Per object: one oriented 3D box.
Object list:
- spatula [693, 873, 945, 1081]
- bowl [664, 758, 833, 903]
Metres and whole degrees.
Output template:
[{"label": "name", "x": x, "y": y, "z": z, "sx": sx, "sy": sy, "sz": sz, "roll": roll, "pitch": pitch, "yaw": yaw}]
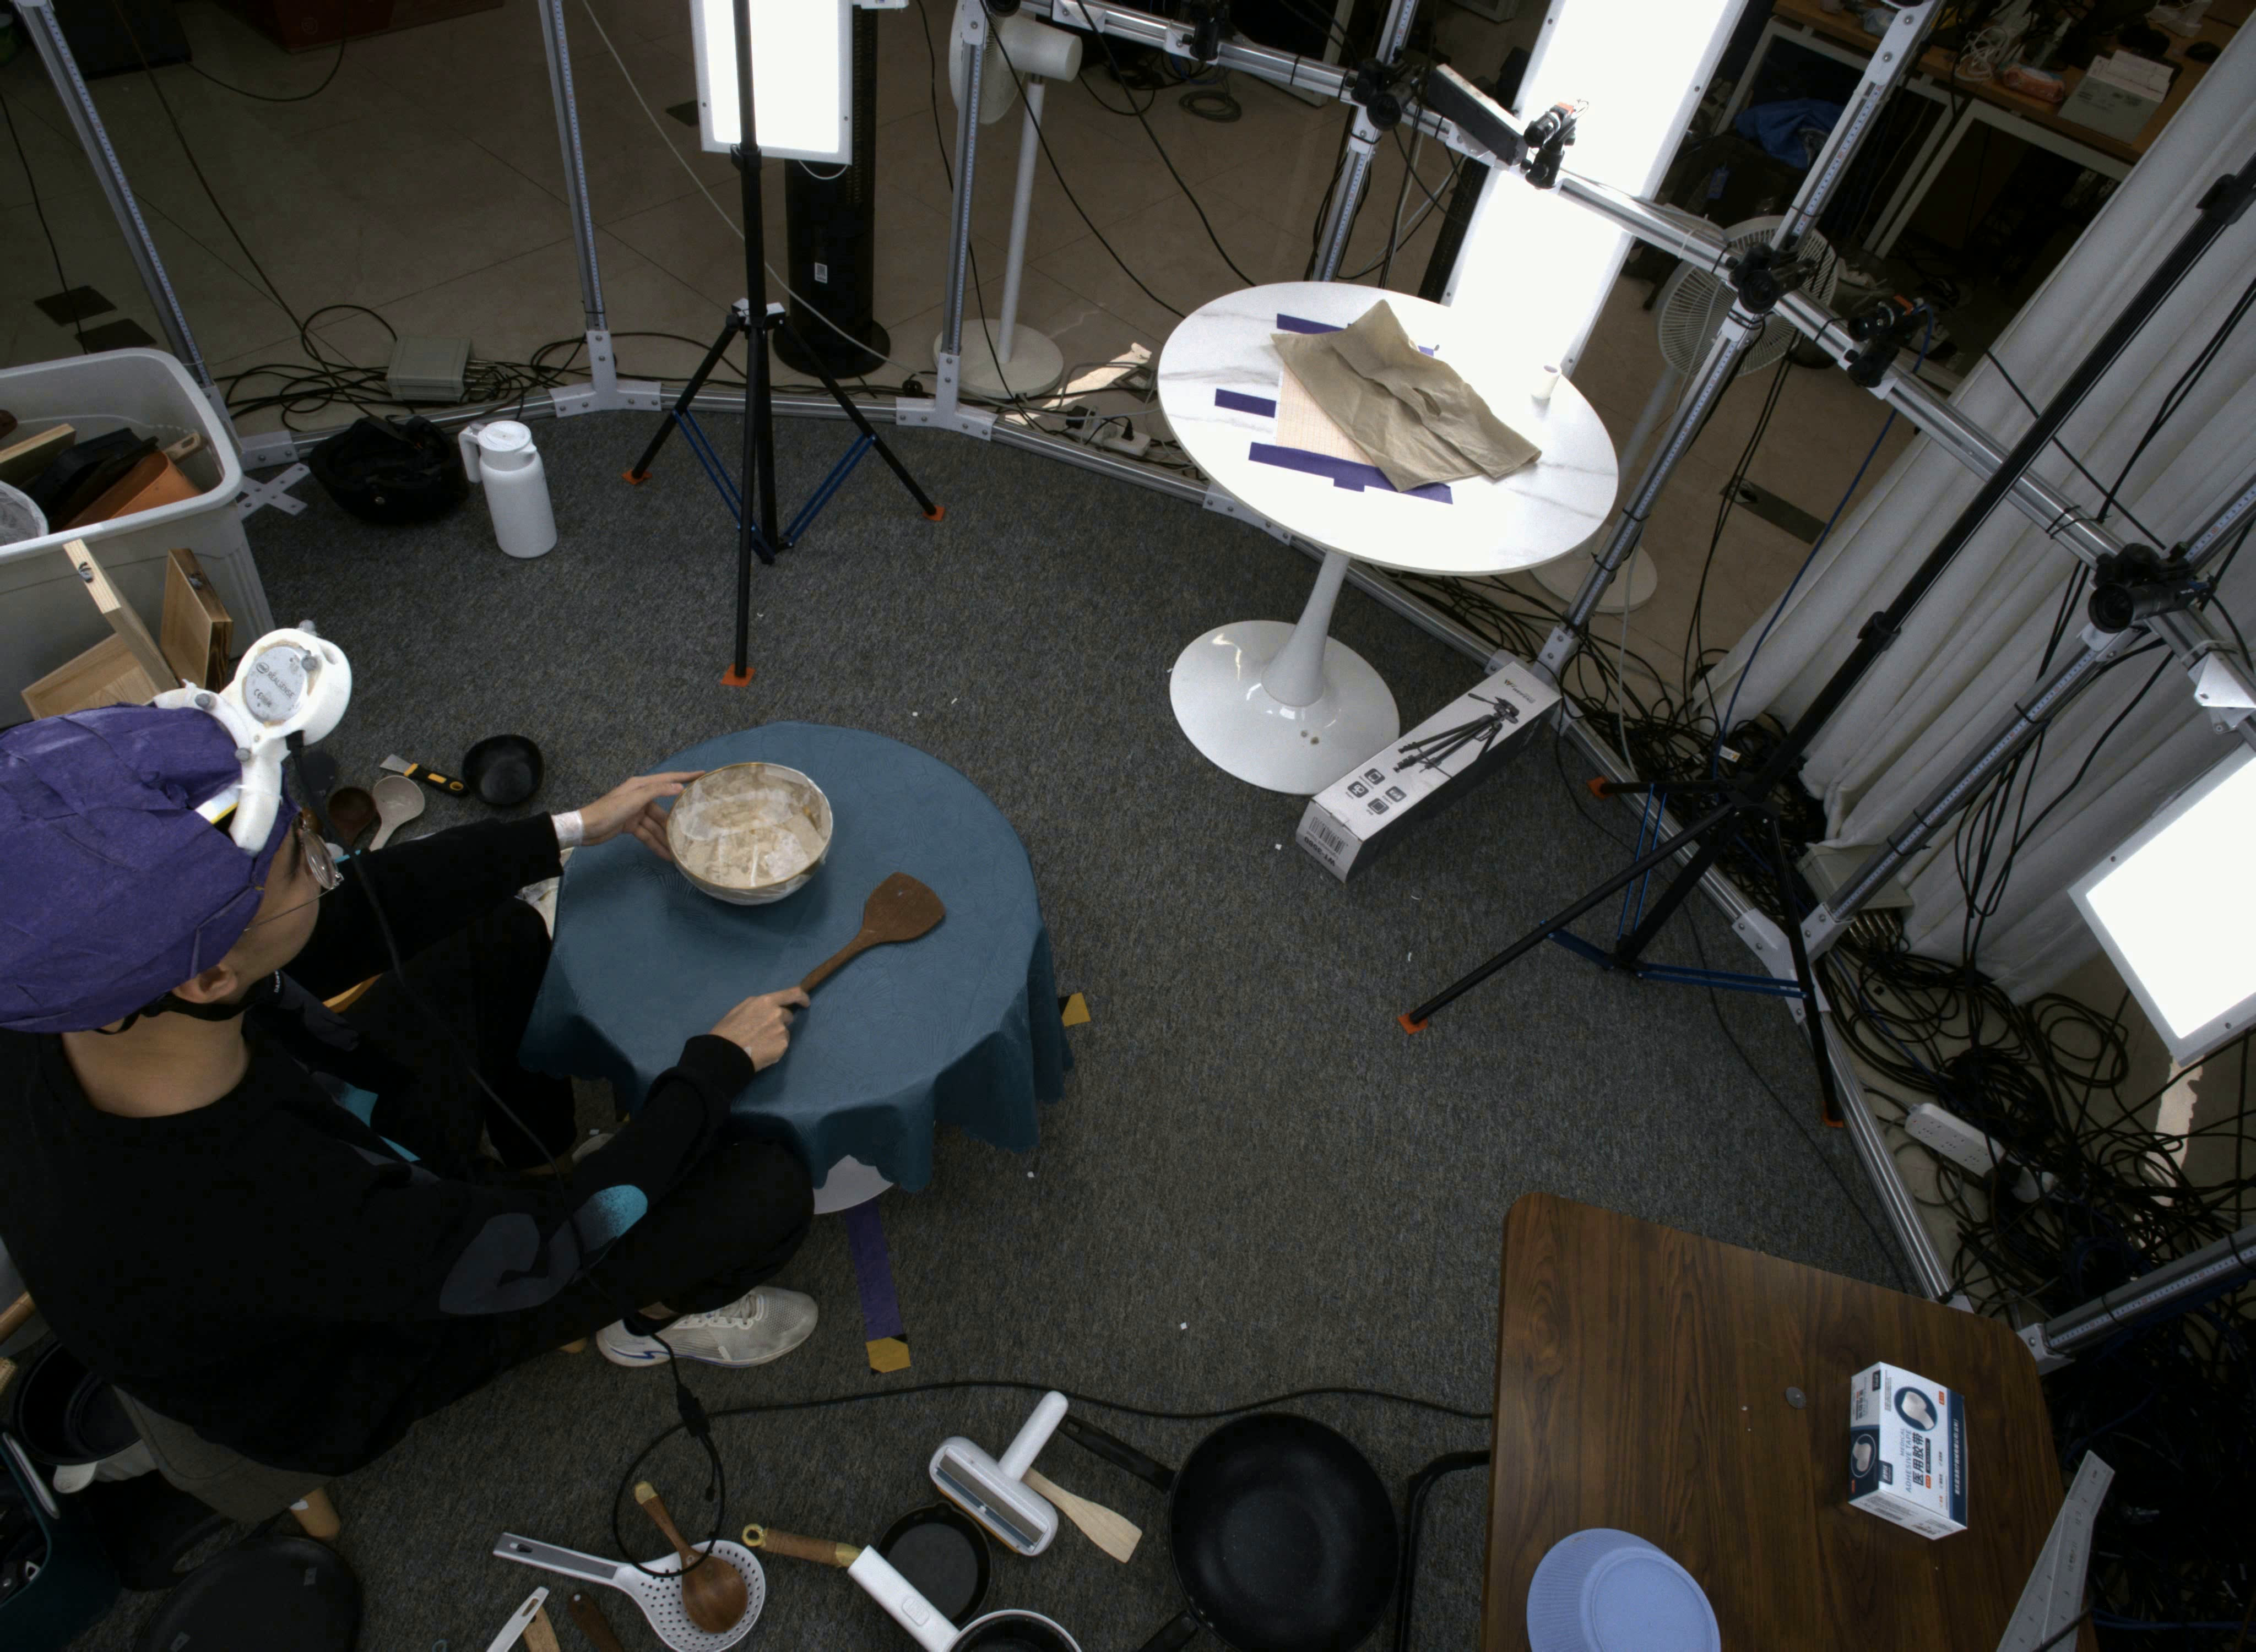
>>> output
[{"label": "spatula", "x": -0.379, "y": 0.182, "z": 1.590, "sx": 0.094, "sy": 0.016, "sz": 0.386, "roll": 37, "pitch": 51, "yaw": 15}, {"label": "bowl", "x": -0.478, "y": 0.020, "z": 1.638, "sx": 0.214, "sy": 0.096, "sz": 0.211, "roll": 6, "pitch": 54, "yaw": -7}]
